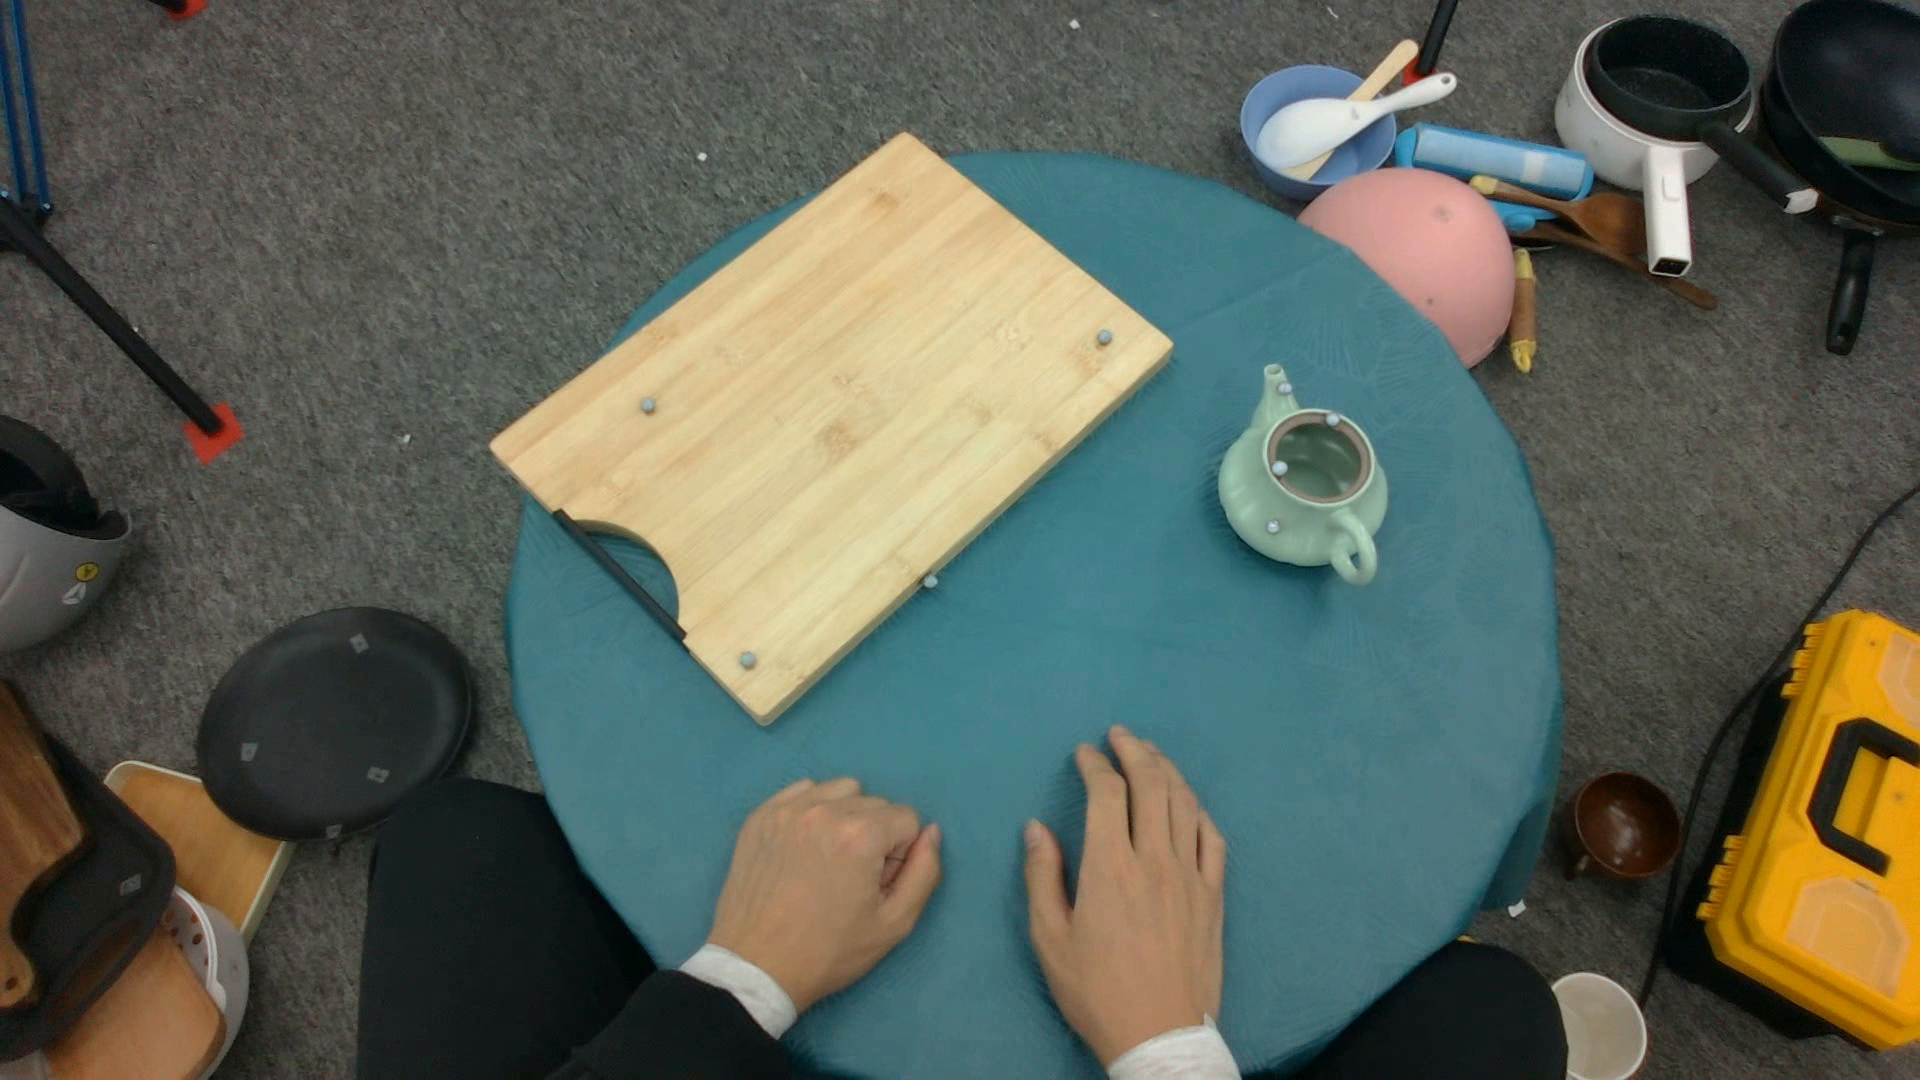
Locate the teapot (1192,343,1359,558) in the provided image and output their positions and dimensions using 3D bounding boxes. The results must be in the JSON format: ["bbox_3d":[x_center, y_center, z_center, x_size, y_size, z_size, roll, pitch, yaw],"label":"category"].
[{"bbox_3d":[0.186,-0.045,0.787,0.096,0.061,0.137,-20,66,-12],"label":"teapot"}]

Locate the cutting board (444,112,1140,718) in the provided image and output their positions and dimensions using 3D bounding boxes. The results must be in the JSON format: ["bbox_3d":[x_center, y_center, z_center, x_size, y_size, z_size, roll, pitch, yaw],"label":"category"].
[{"bbox_3d":[-0.093,-0.092,0.827,0.251,0.023,0.350,40,70,16],"label":"cutting board"}]
